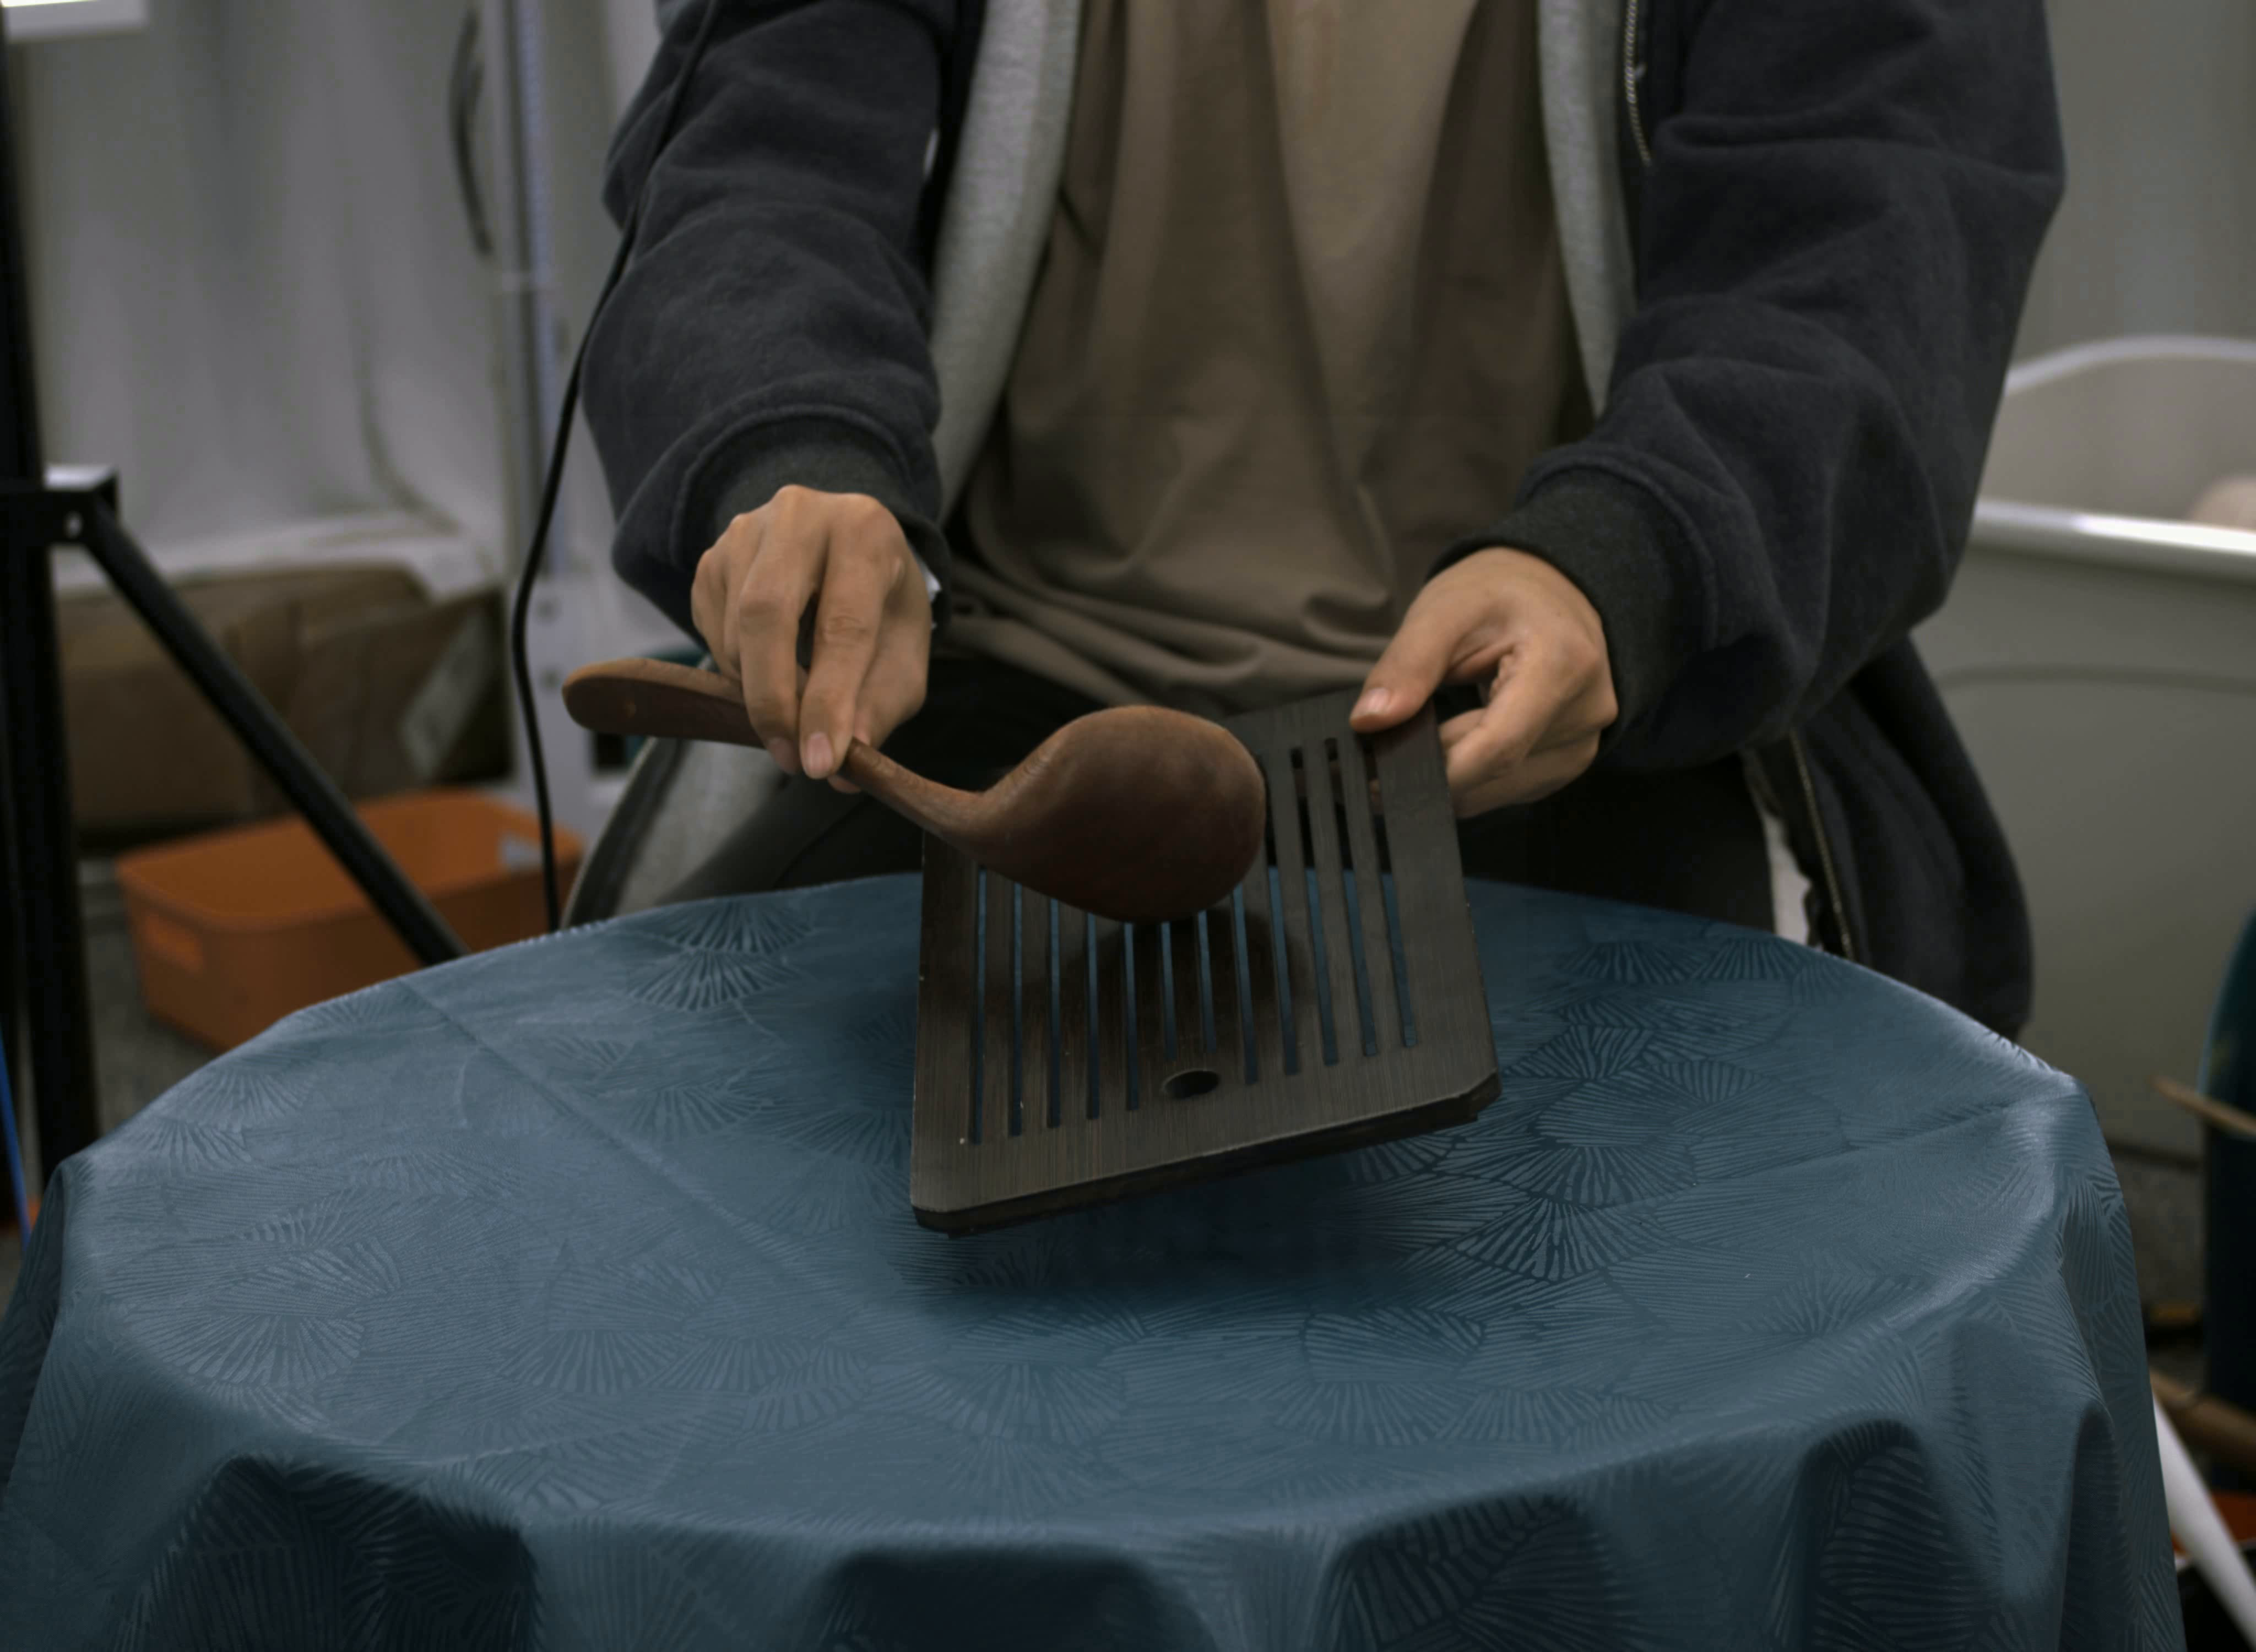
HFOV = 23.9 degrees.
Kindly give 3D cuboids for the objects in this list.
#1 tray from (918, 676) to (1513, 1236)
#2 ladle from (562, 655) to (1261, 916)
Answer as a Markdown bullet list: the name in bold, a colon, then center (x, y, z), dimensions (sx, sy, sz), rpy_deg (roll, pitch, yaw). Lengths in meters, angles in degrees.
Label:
- **tray**: center (0.023, 0.036, 1.607), dimensions (0.170, 0.018, 0.308), rpy_deg (-13, 23, 6)
- **ladle**: center (-0.070, -0.027, 1.656), dimensions (0.266, 0.076, 0.064), rpy_deg (17, 45, 42)
